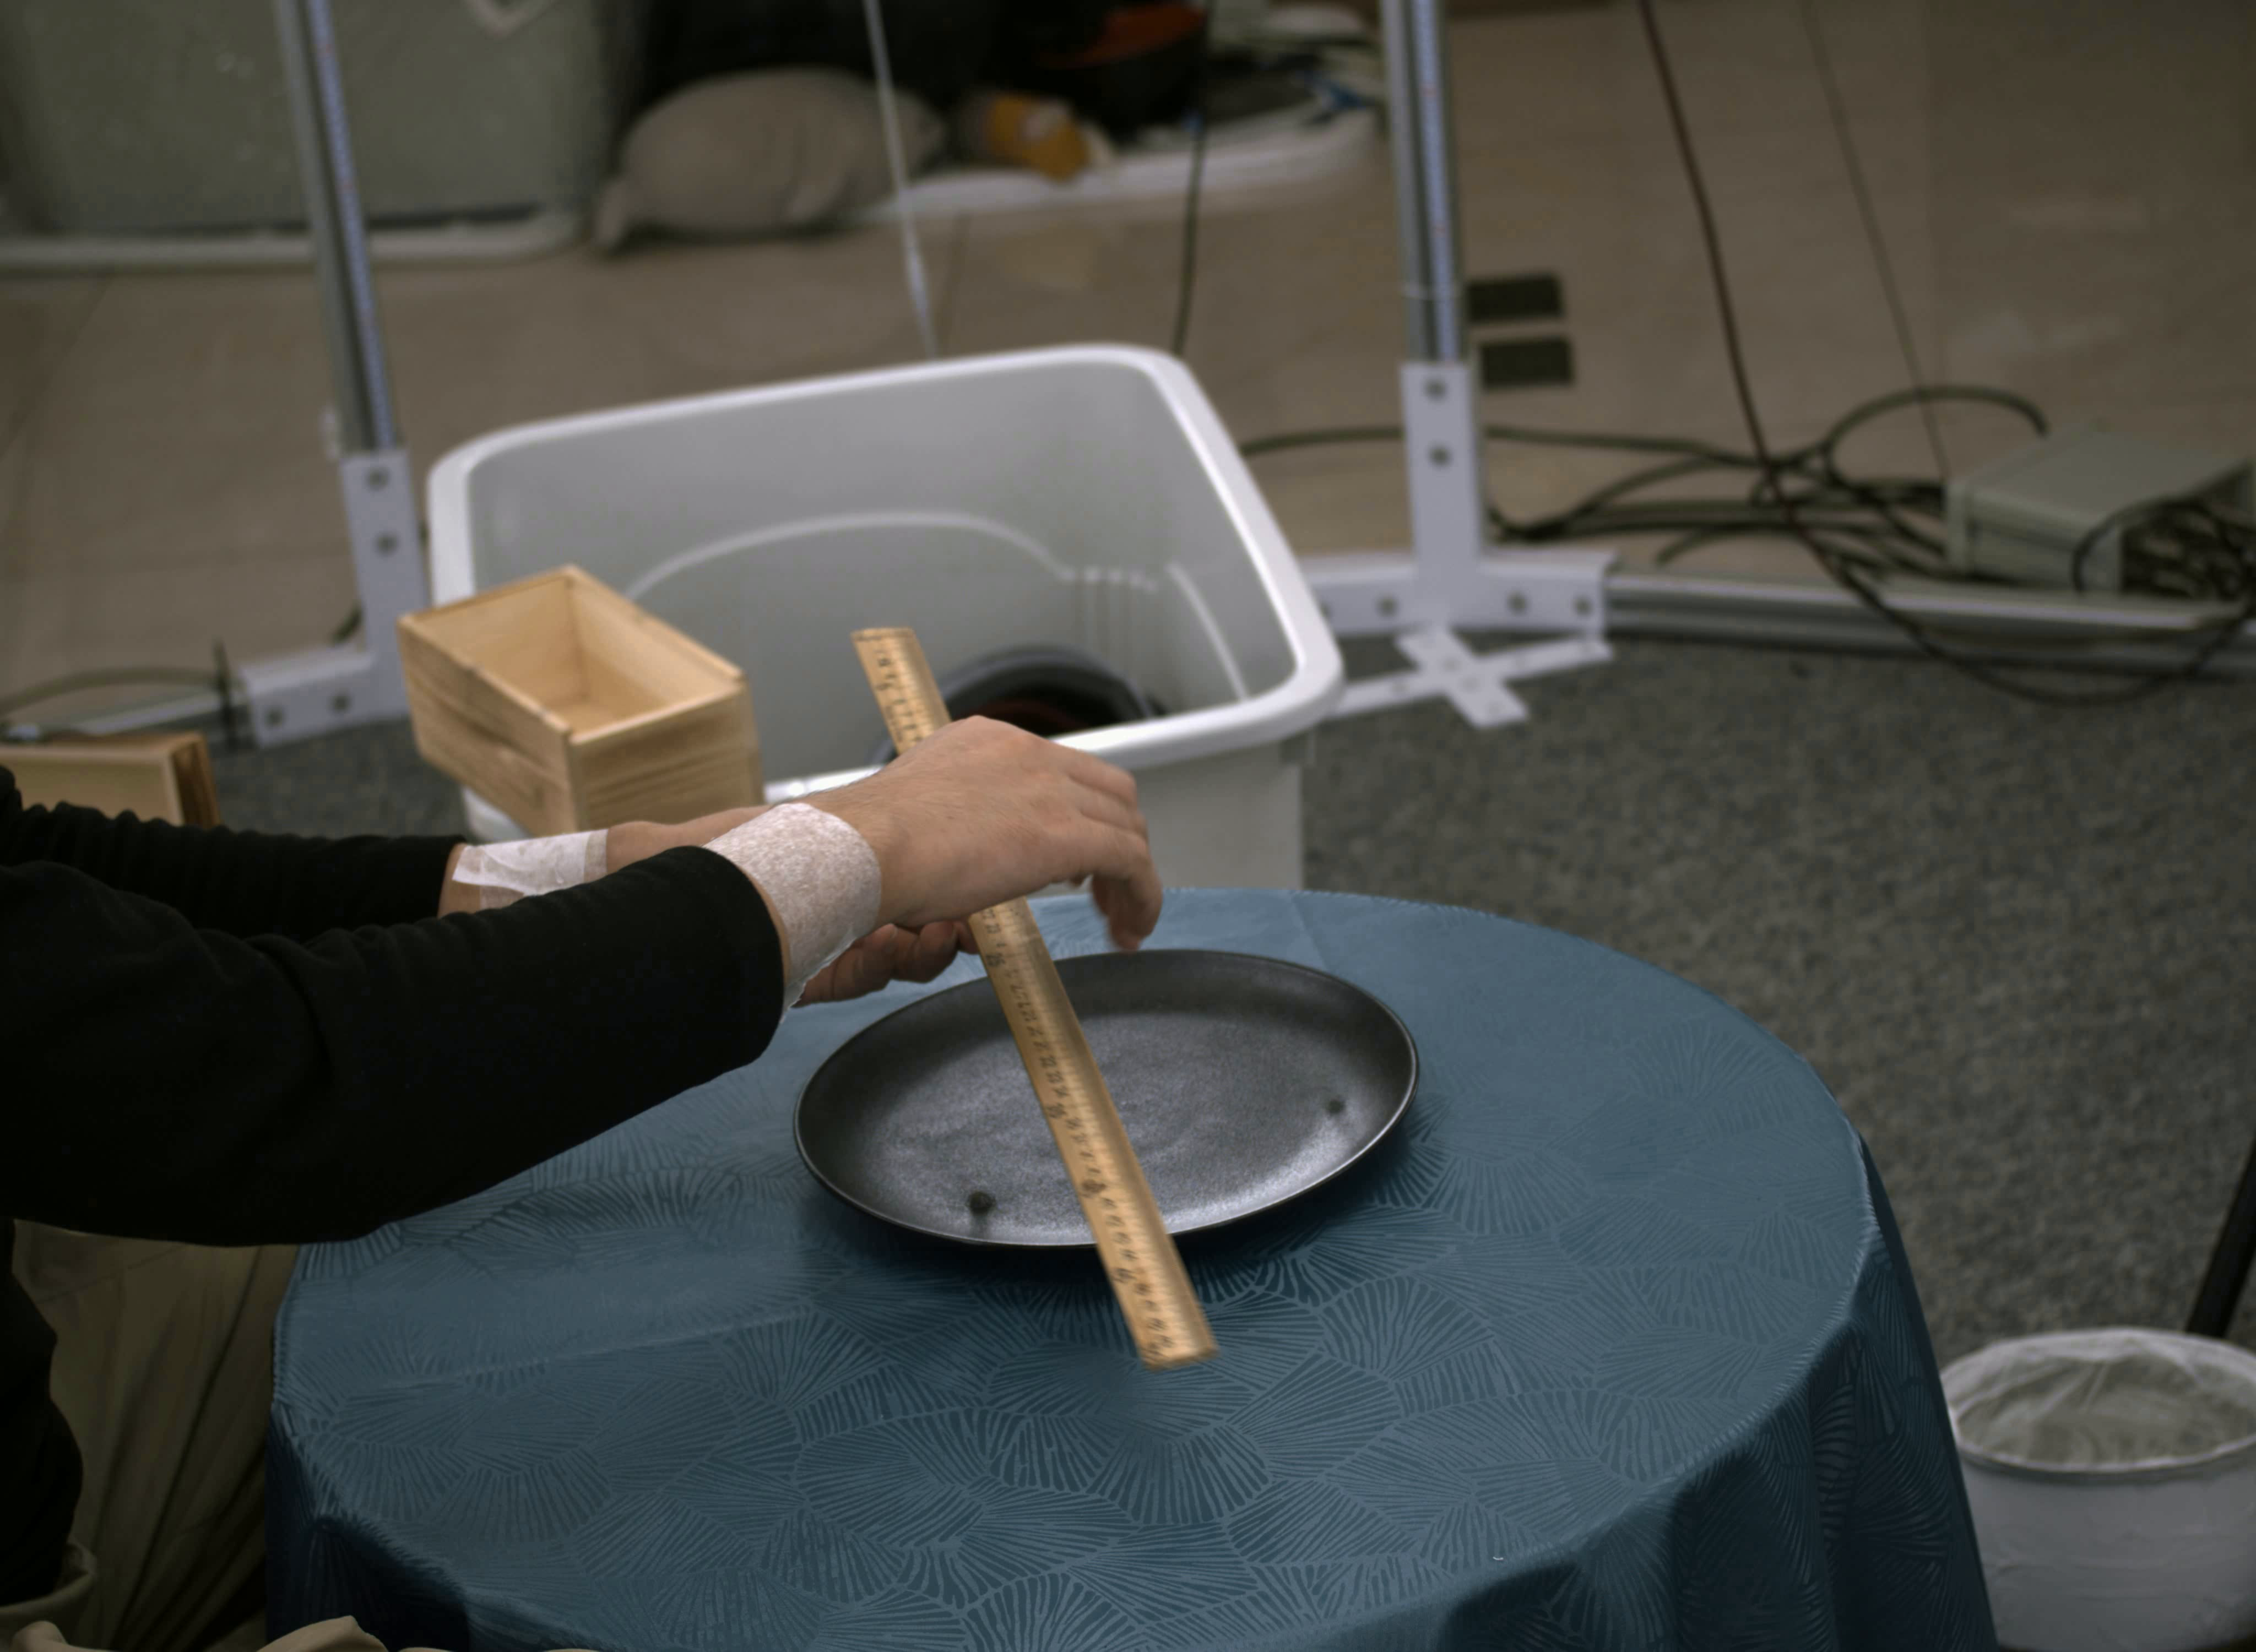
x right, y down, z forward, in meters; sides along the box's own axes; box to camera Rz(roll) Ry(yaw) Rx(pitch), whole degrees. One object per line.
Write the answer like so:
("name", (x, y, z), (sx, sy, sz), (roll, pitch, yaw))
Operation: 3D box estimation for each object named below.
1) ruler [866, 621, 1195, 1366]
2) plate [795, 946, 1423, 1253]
("ruler", (-0.043, 0.049, 2.118), (0.027, 0.006, 0.492), (-13, 34, -6))
("plate", (-0.007, 0.110, 2.184), (0.244, 0.024, 0.241), (-5, 25, 3))
